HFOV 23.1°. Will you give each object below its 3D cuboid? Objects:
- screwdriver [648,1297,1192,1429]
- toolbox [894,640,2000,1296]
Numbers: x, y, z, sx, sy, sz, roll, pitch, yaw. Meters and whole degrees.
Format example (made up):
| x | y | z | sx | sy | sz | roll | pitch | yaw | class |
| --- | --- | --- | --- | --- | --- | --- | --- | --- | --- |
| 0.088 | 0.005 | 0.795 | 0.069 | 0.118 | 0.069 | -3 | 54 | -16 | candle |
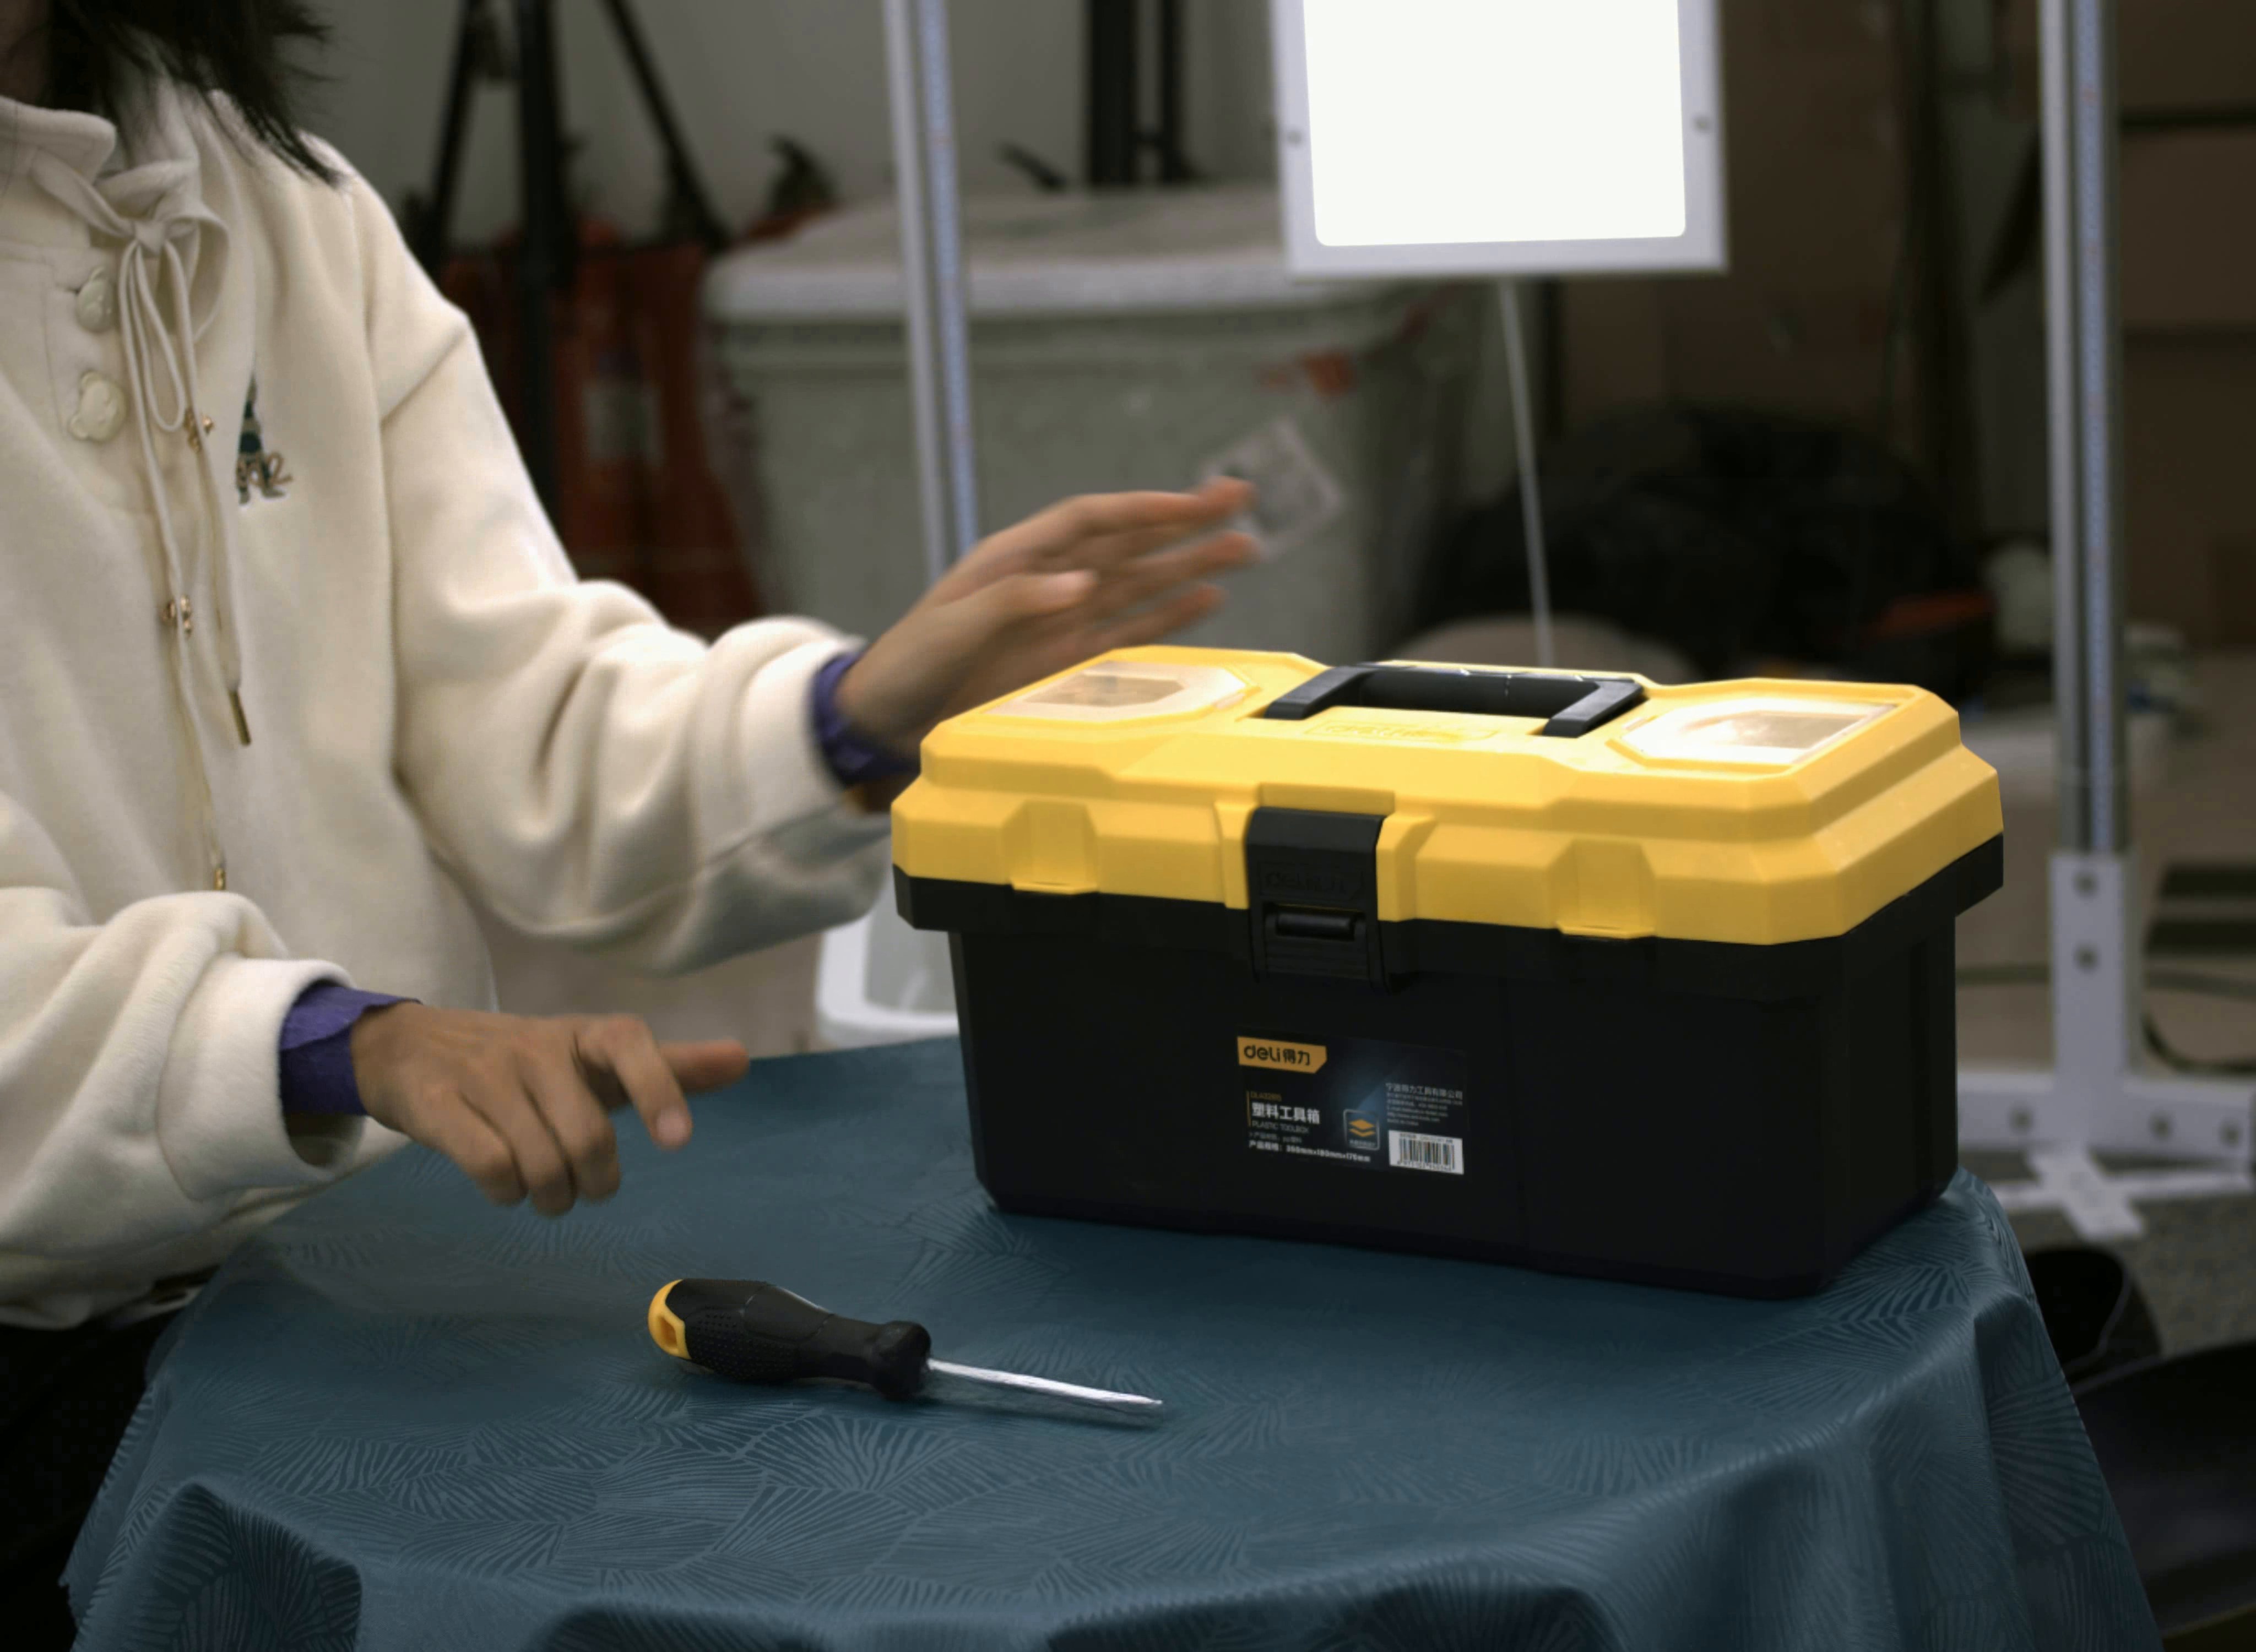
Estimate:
| x | y | z | sx | sy | sz | roll | pitch | yaw | class |
| --- | --- | --- | --- | --- | --- | --- | --- | --- | --- |
| -0.065 | 0.173 | 1.711 | 0.201 | 0.031 | 0.031 | 9 | 18 | 32 | screwdriver |
| 0.106 | 0.043 | 1.836 | 0.358 | 0.173 | 0.177 | 4 | 16 | 33 | toolbox |
